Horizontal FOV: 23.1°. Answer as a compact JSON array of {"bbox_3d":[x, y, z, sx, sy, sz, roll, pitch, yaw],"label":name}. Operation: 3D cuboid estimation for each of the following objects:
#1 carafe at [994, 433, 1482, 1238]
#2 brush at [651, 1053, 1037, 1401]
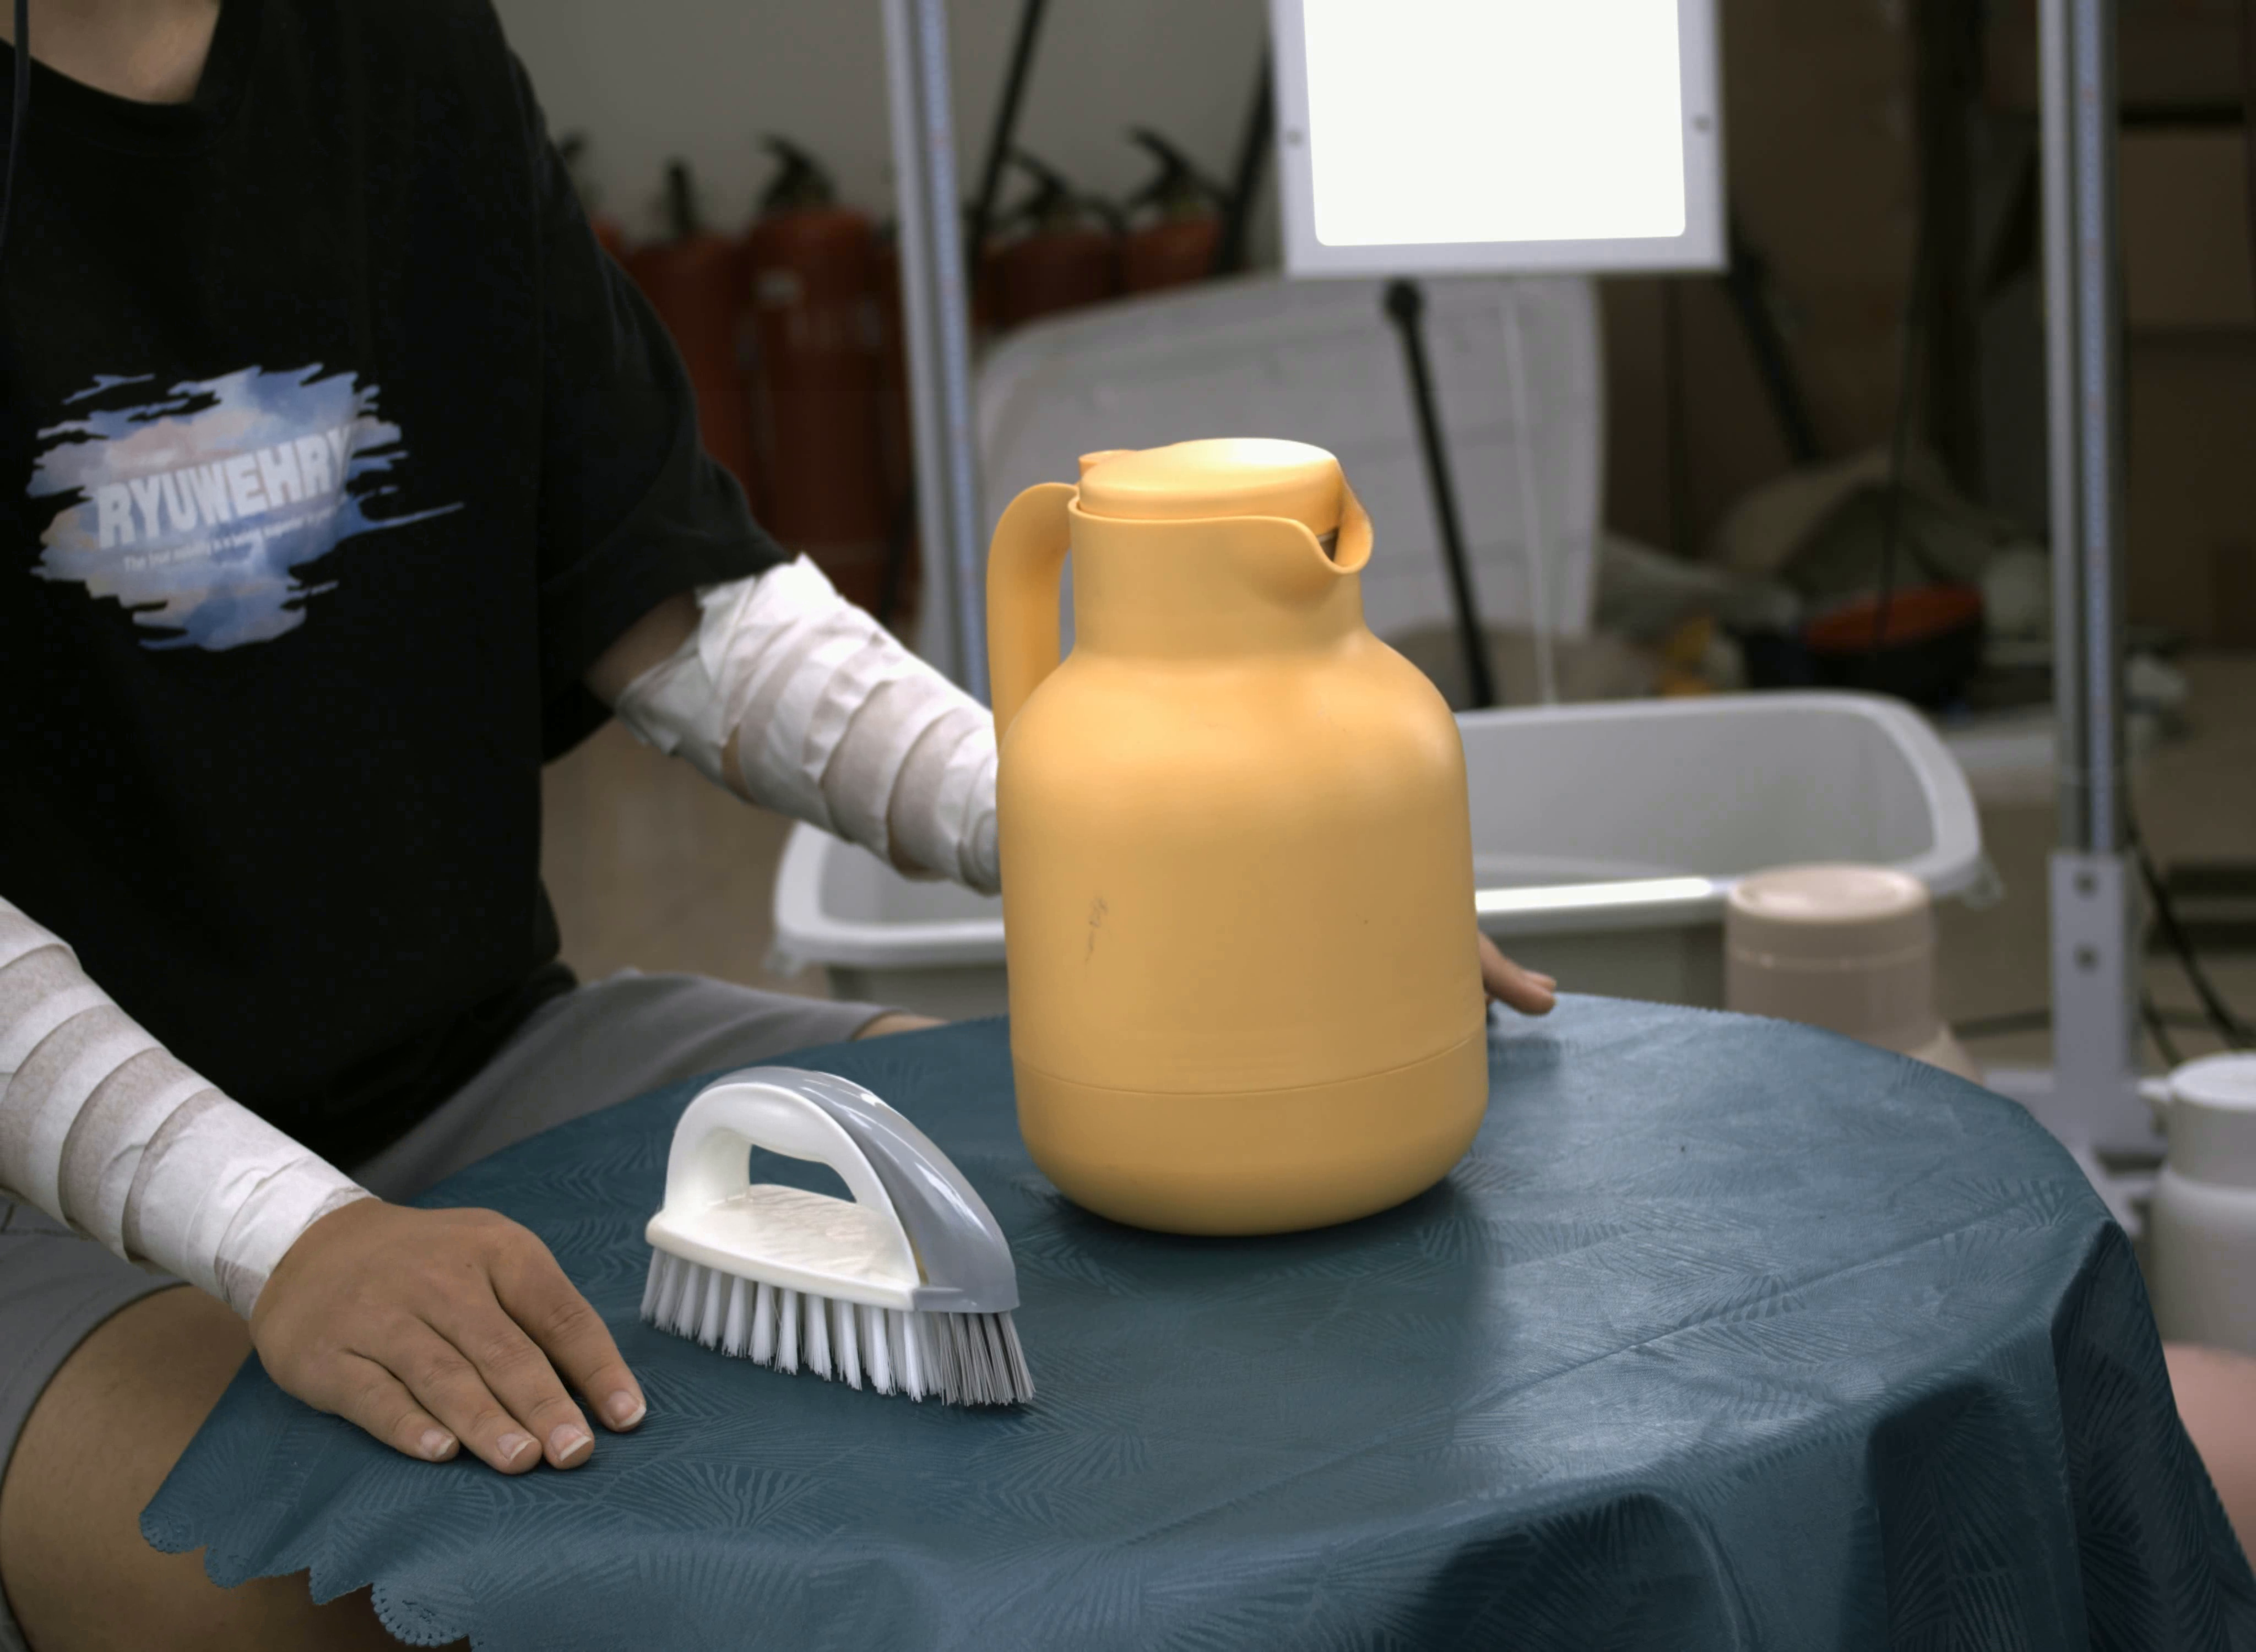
[{"bbox_3d":[0.026,-0.004,1.876,0.159,0.261,0.206,-11,16,-31],"label":"carafe"},{"bbox_3d":[-0.088,0.124,1.749,0.060,0.094,0.179,-17,19,-35],"label":"brush"}]
